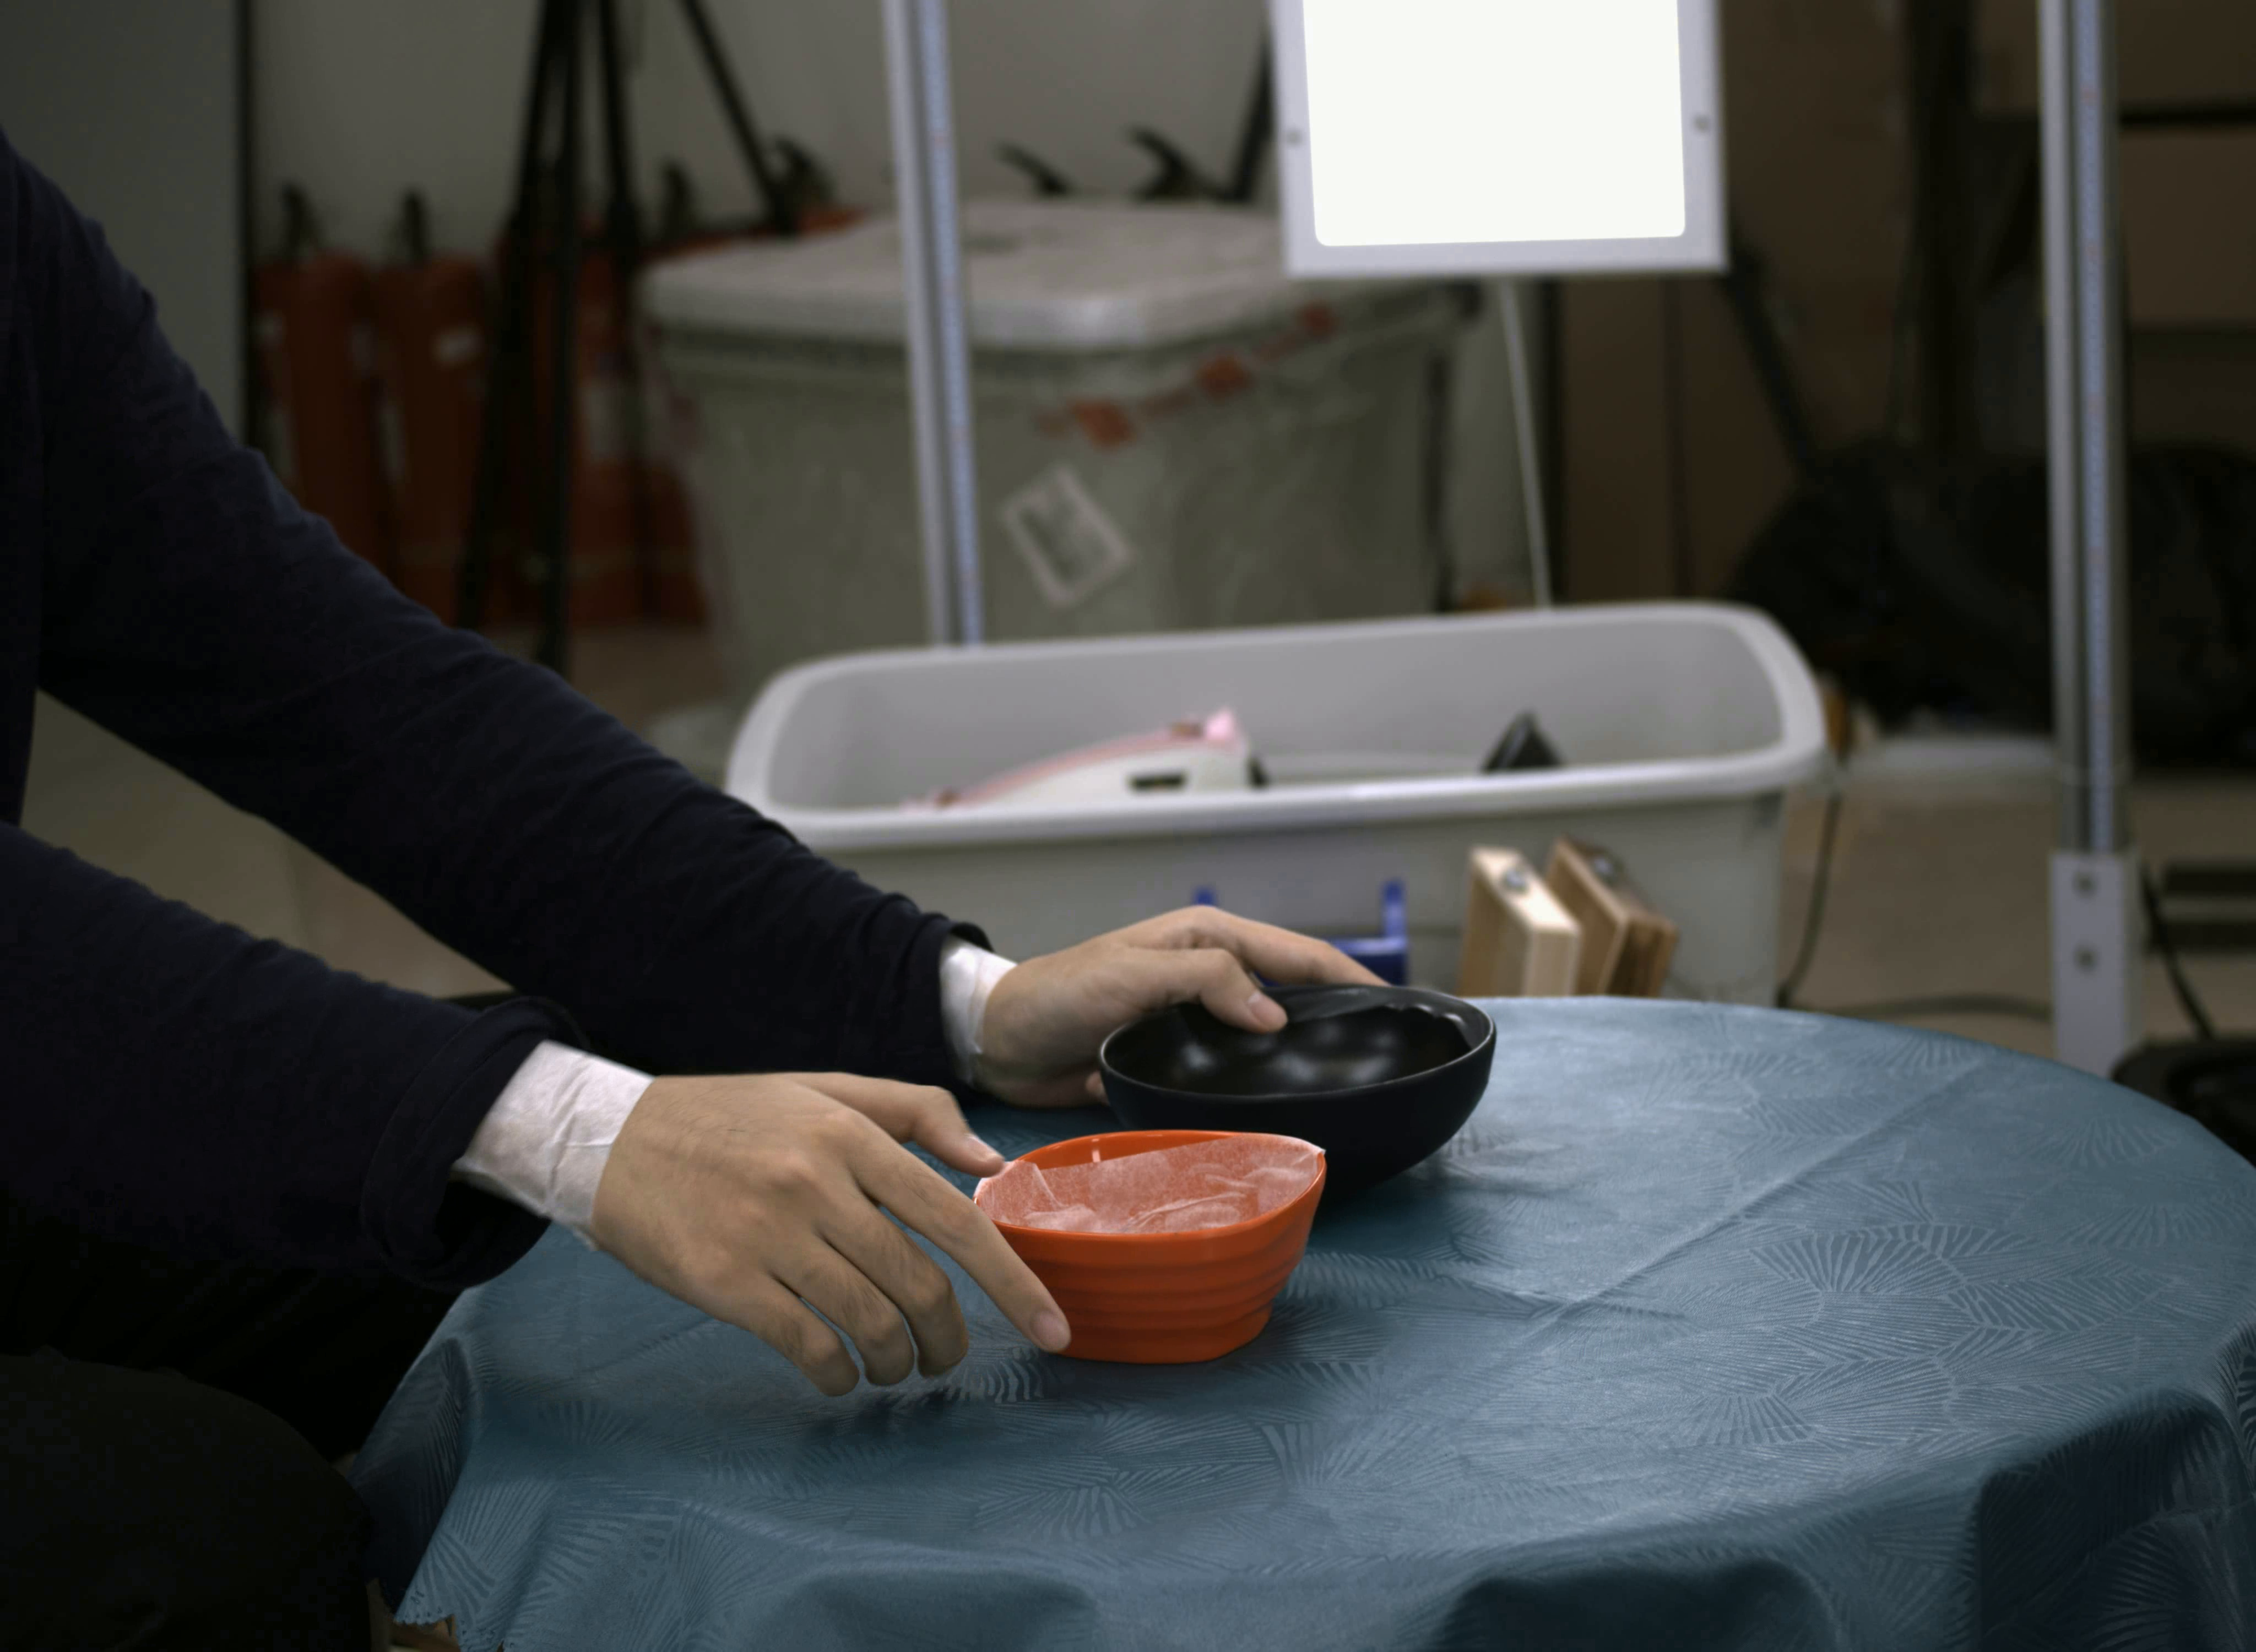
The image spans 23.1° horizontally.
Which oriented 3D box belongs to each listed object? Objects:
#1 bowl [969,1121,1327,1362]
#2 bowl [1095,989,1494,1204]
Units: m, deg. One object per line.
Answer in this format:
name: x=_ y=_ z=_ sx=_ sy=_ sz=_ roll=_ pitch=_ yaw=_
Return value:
bowl: x=0.008 y=0.135 z=1.754 sx=0.118 sy=0.051 sz=0.119 roll=-4 pitch=16 yaw=0
bowl: x=0.060 y=0.098 z=1.903 sx=0.140 sy=0.050 sz=0.140 roll=-8 pitch=12 yaw=0
